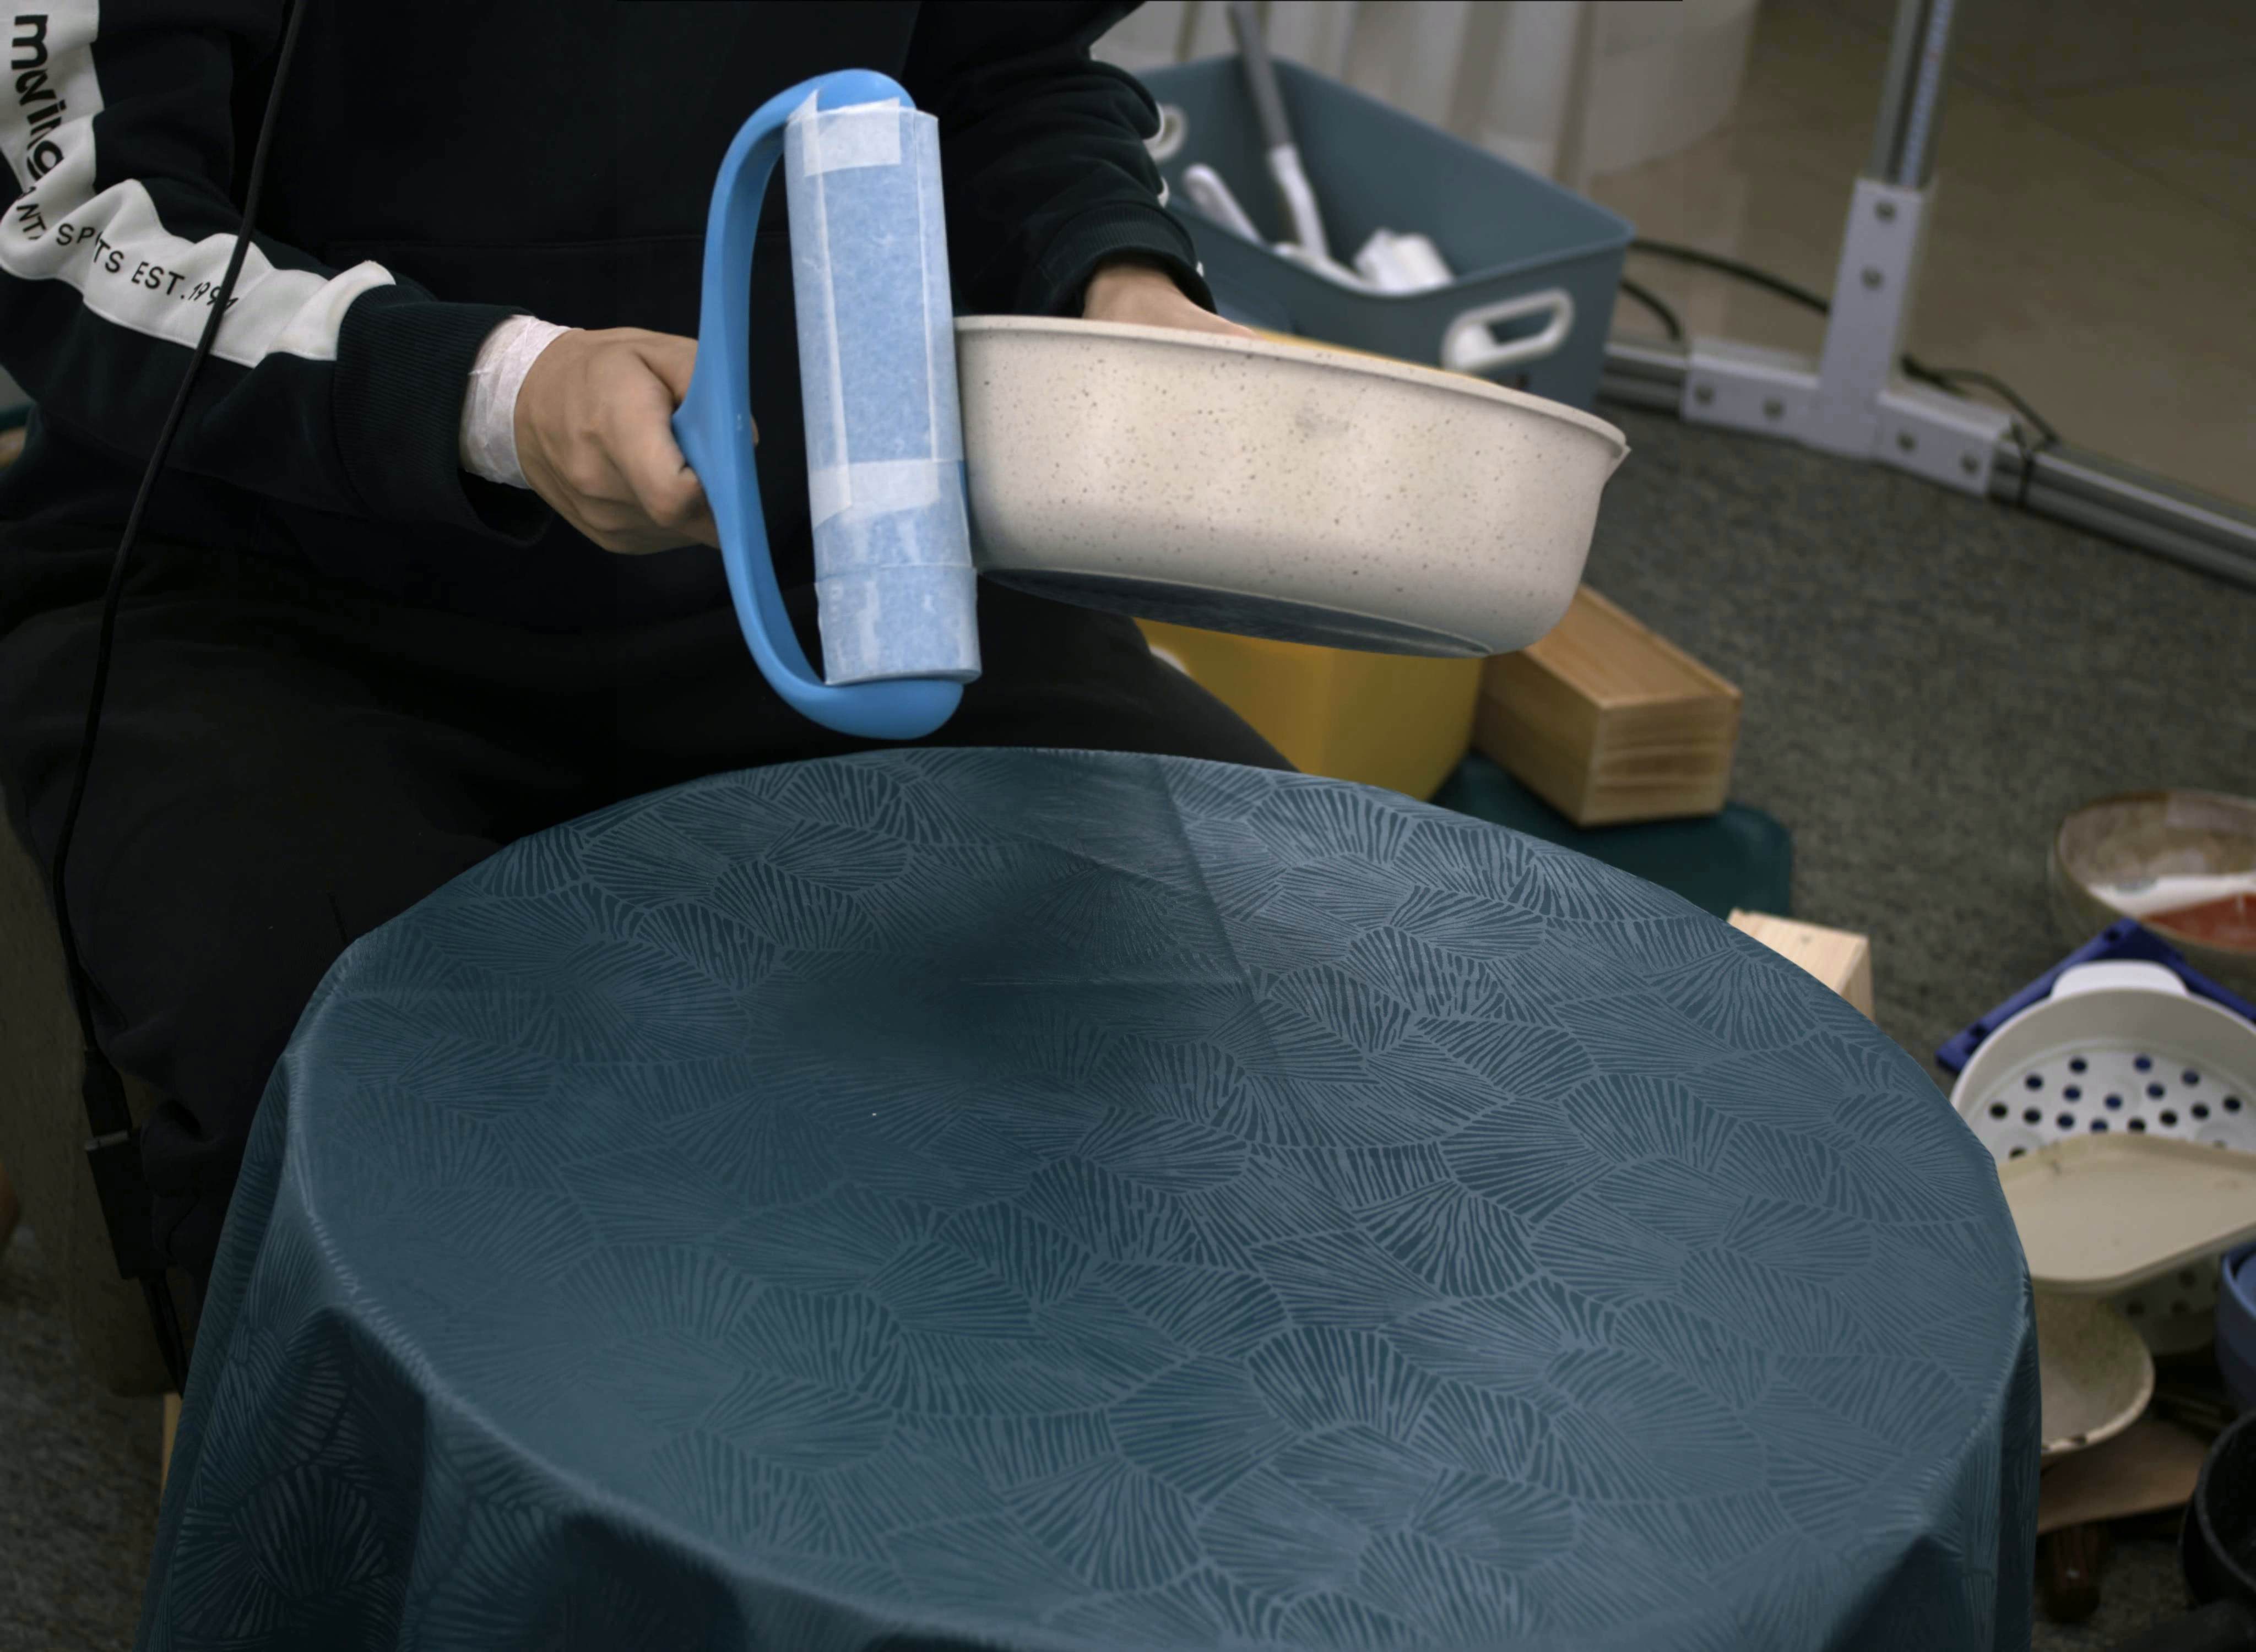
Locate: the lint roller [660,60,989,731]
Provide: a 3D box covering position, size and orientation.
[{"bbox_3d":[-0.122,-0.135,1.842,0.067,0.230,0.181,-1,-10,-42],"label":"lint roller"}]

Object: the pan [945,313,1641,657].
[{"bbox_3d":[0.033,-0.120,1.955,0.262,0.102,0.435,8,-3,-10],"label":"pan"}]
